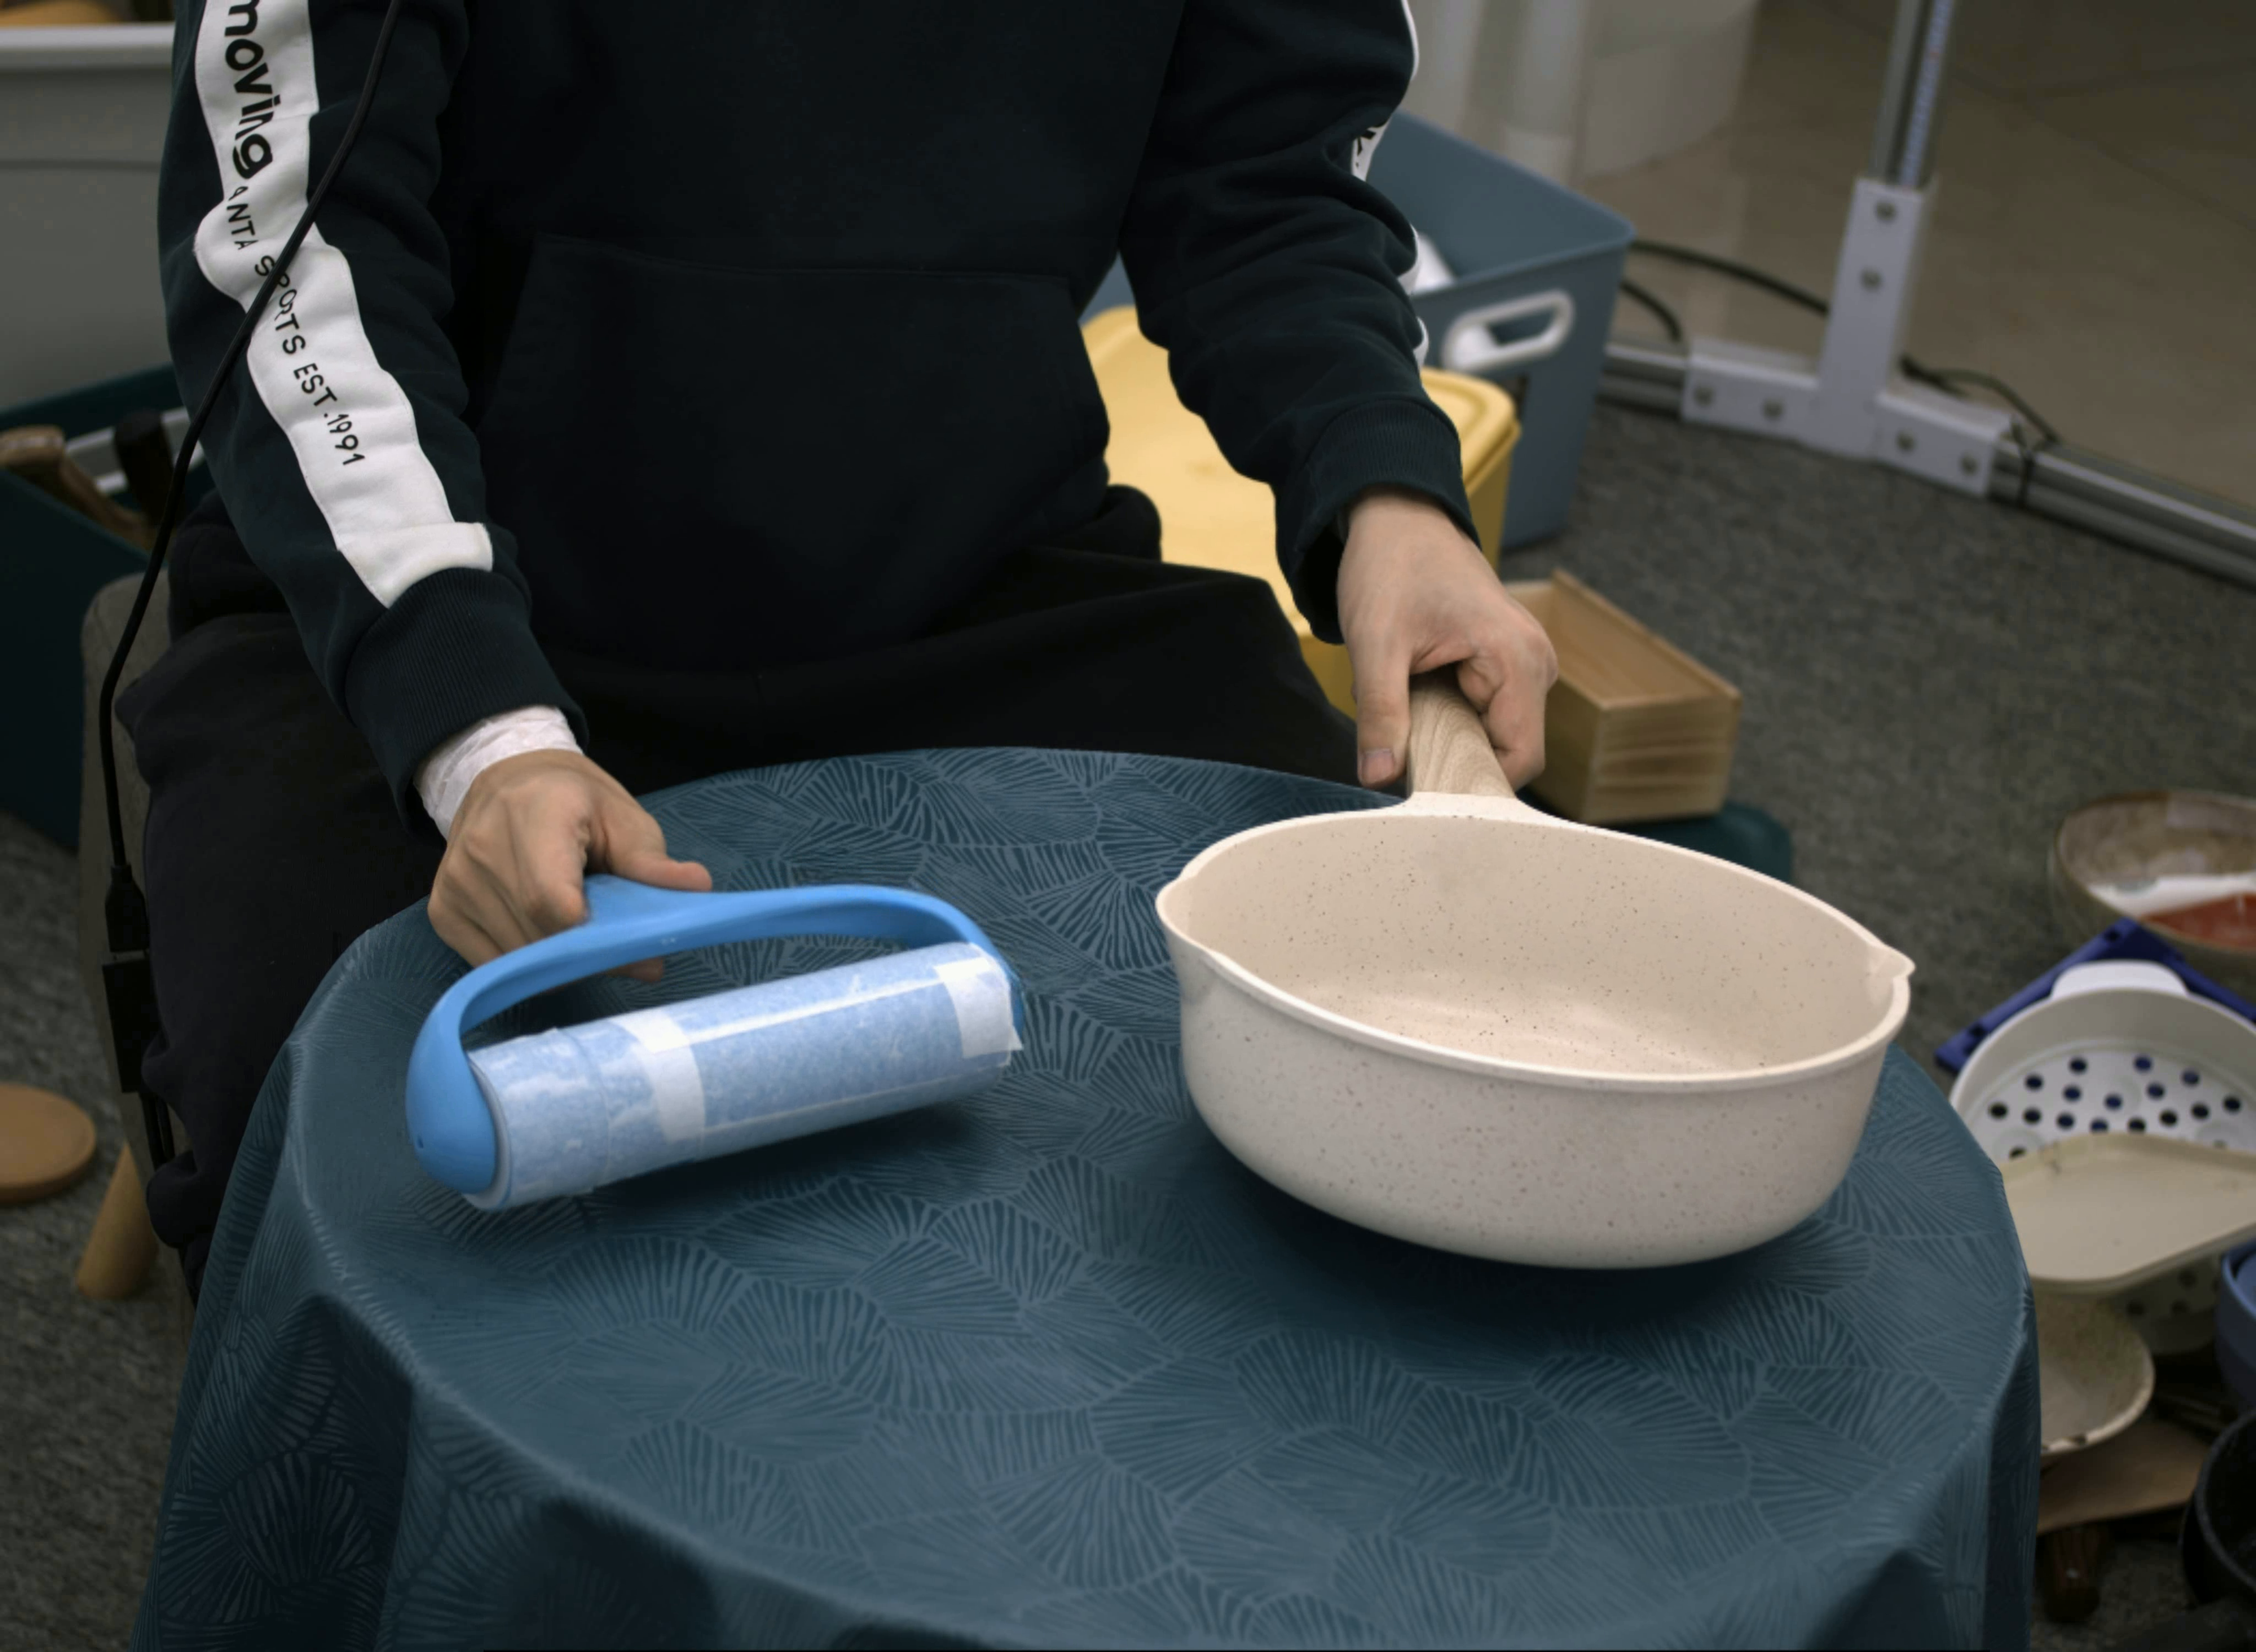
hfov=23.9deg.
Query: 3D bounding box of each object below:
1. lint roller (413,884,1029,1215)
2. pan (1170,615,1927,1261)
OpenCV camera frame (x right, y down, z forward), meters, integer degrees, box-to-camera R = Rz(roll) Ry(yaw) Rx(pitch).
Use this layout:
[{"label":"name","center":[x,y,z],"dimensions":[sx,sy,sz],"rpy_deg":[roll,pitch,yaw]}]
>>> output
[{"label":"lint roller","center":[-0.166,0.054,1.807],"dimensions":[0.227,0.067,0.182],"rpy_deg":[-15,36,-33]},{"label":"pan","center":[0.128,0.036,1.891],"dimensions":[0.262,0.102,0.437],"rpy_deg":[2,19,-9]}]
